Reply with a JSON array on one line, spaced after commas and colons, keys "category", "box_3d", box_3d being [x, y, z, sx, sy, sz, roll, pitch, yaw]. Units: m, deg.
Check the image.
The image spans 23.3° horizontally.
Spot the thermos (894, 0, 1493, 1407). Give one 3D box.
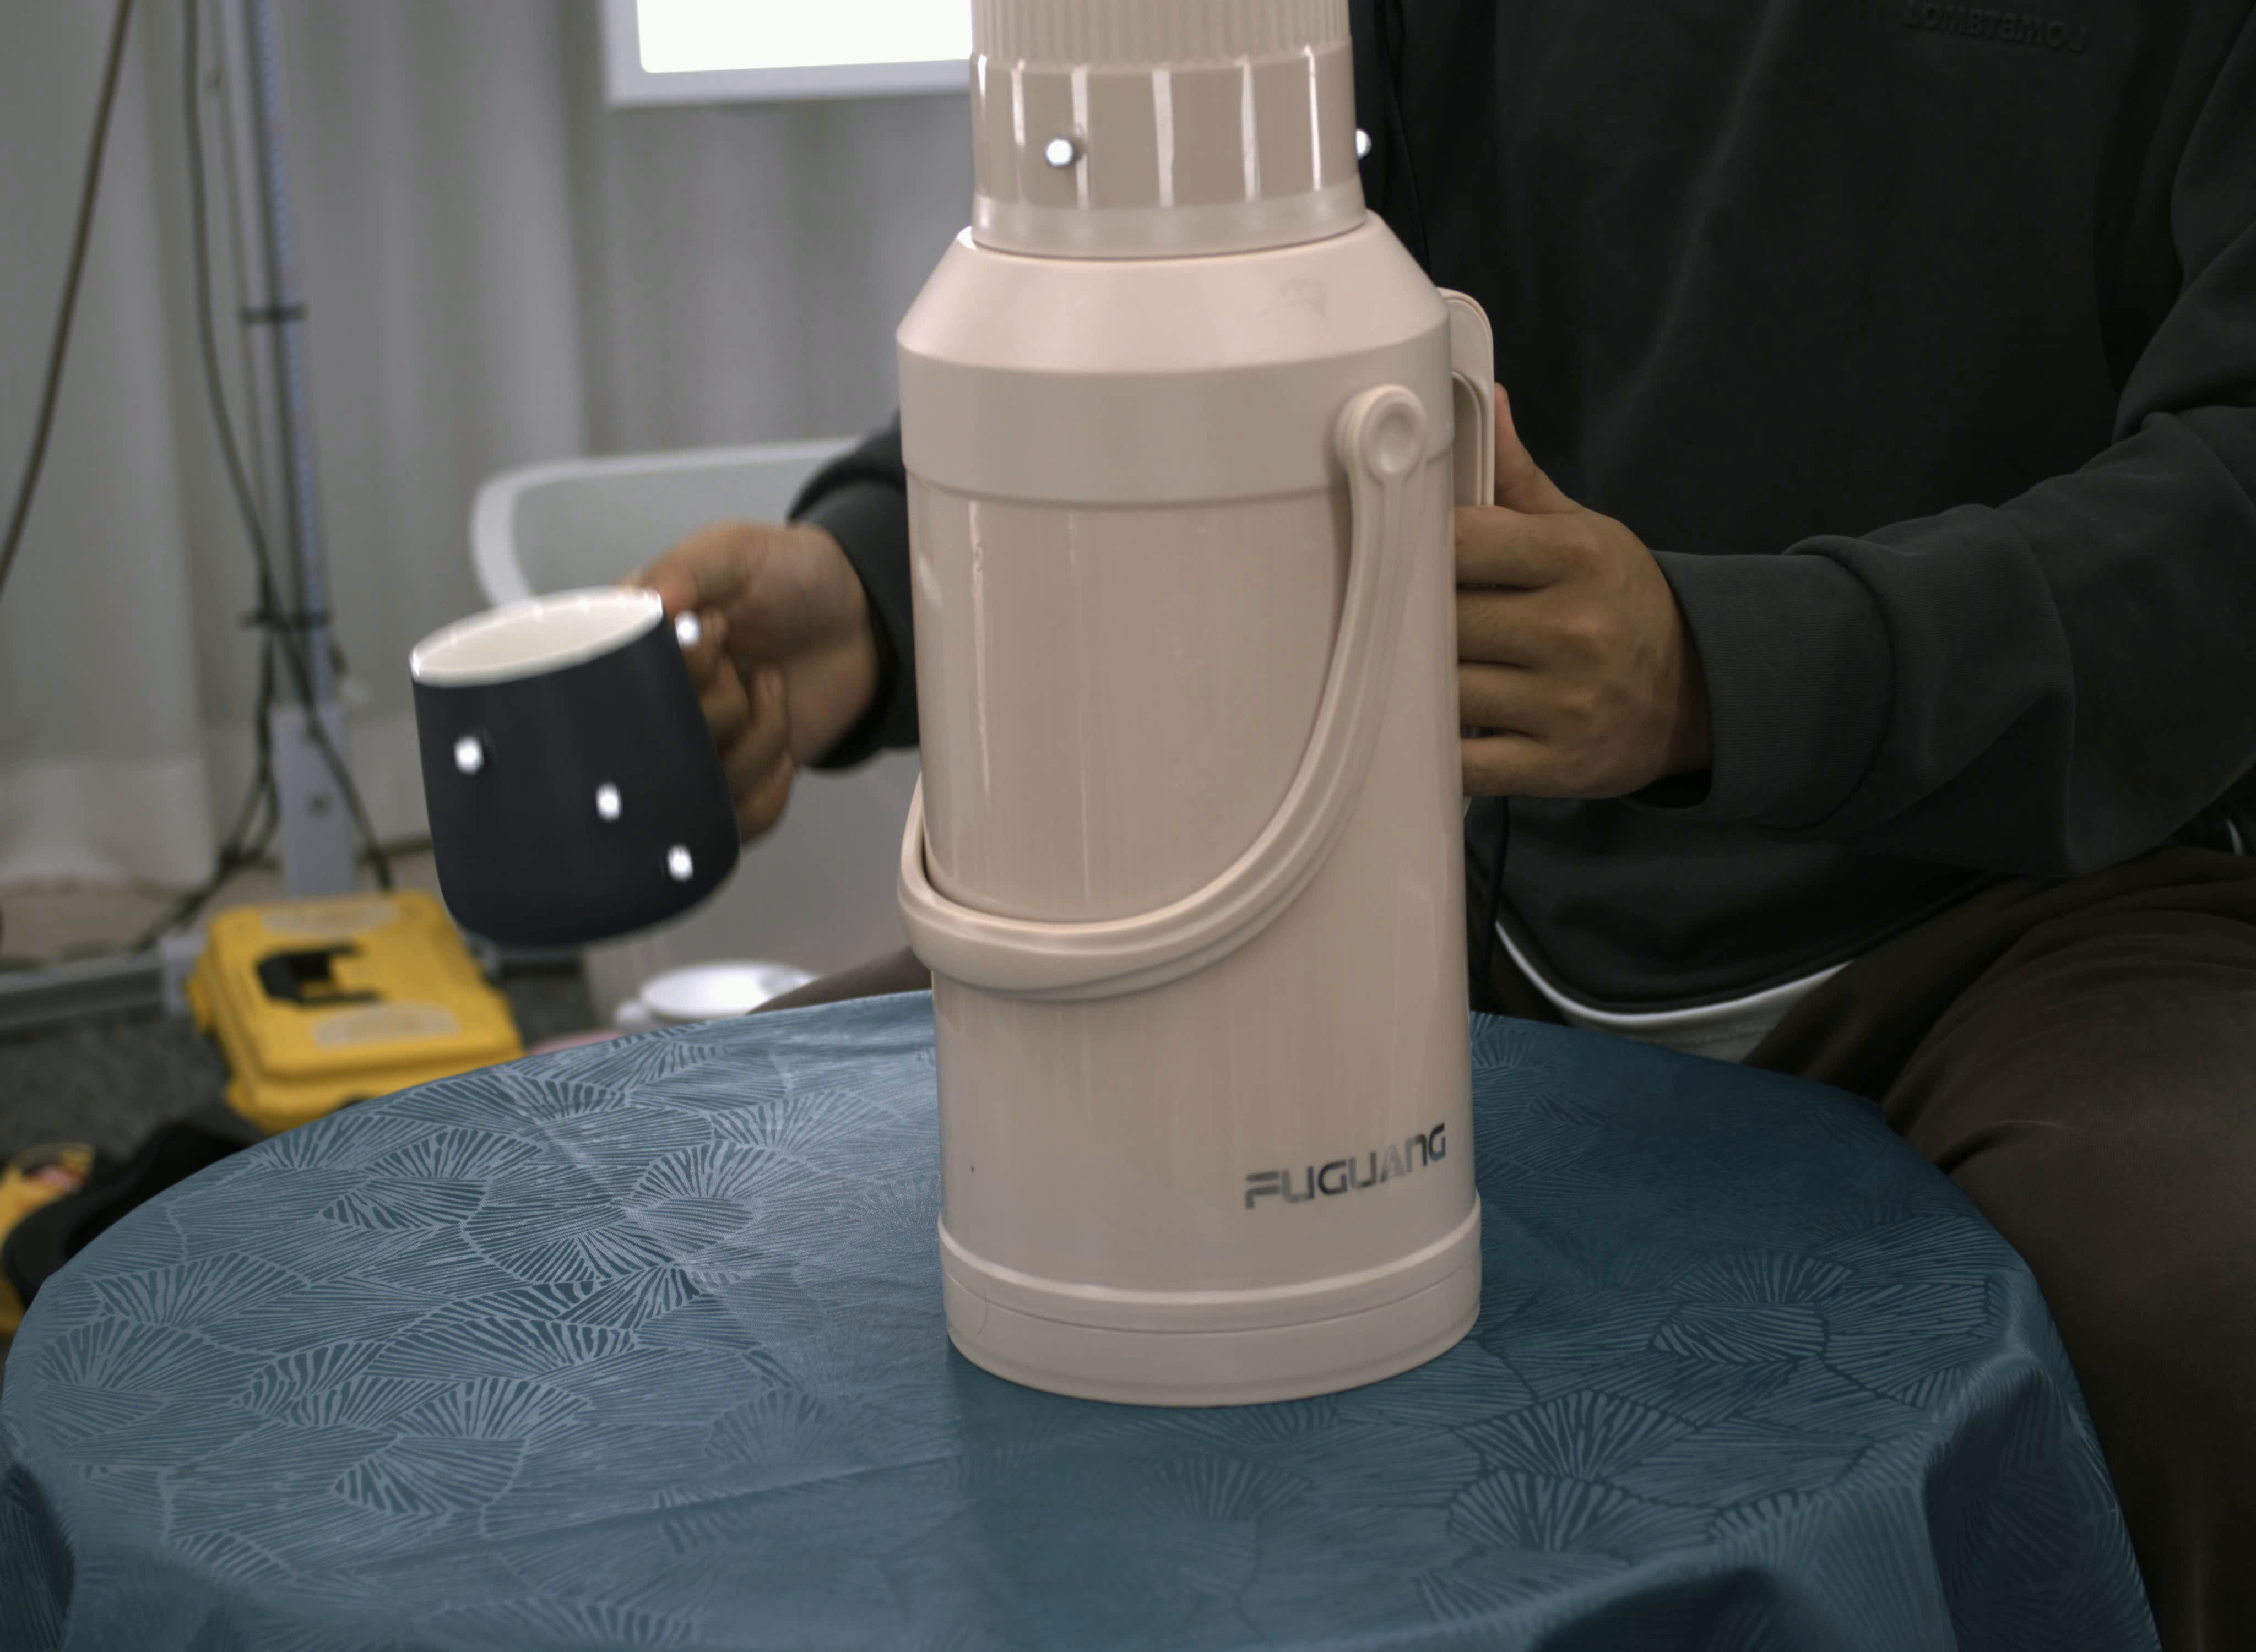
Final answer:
[{"category": "thermos", "box_3d": [0.027, -0.052, 1.571, 0.206, 0.405, 0.176, -15, 18, -40]}]

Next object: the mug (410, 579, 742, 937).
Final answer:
[{"category": "mug", "box_3d": [-0.163, -0.026, 1.681, 0.093, 0.089, 0.124, -2, 19, 30]}]
